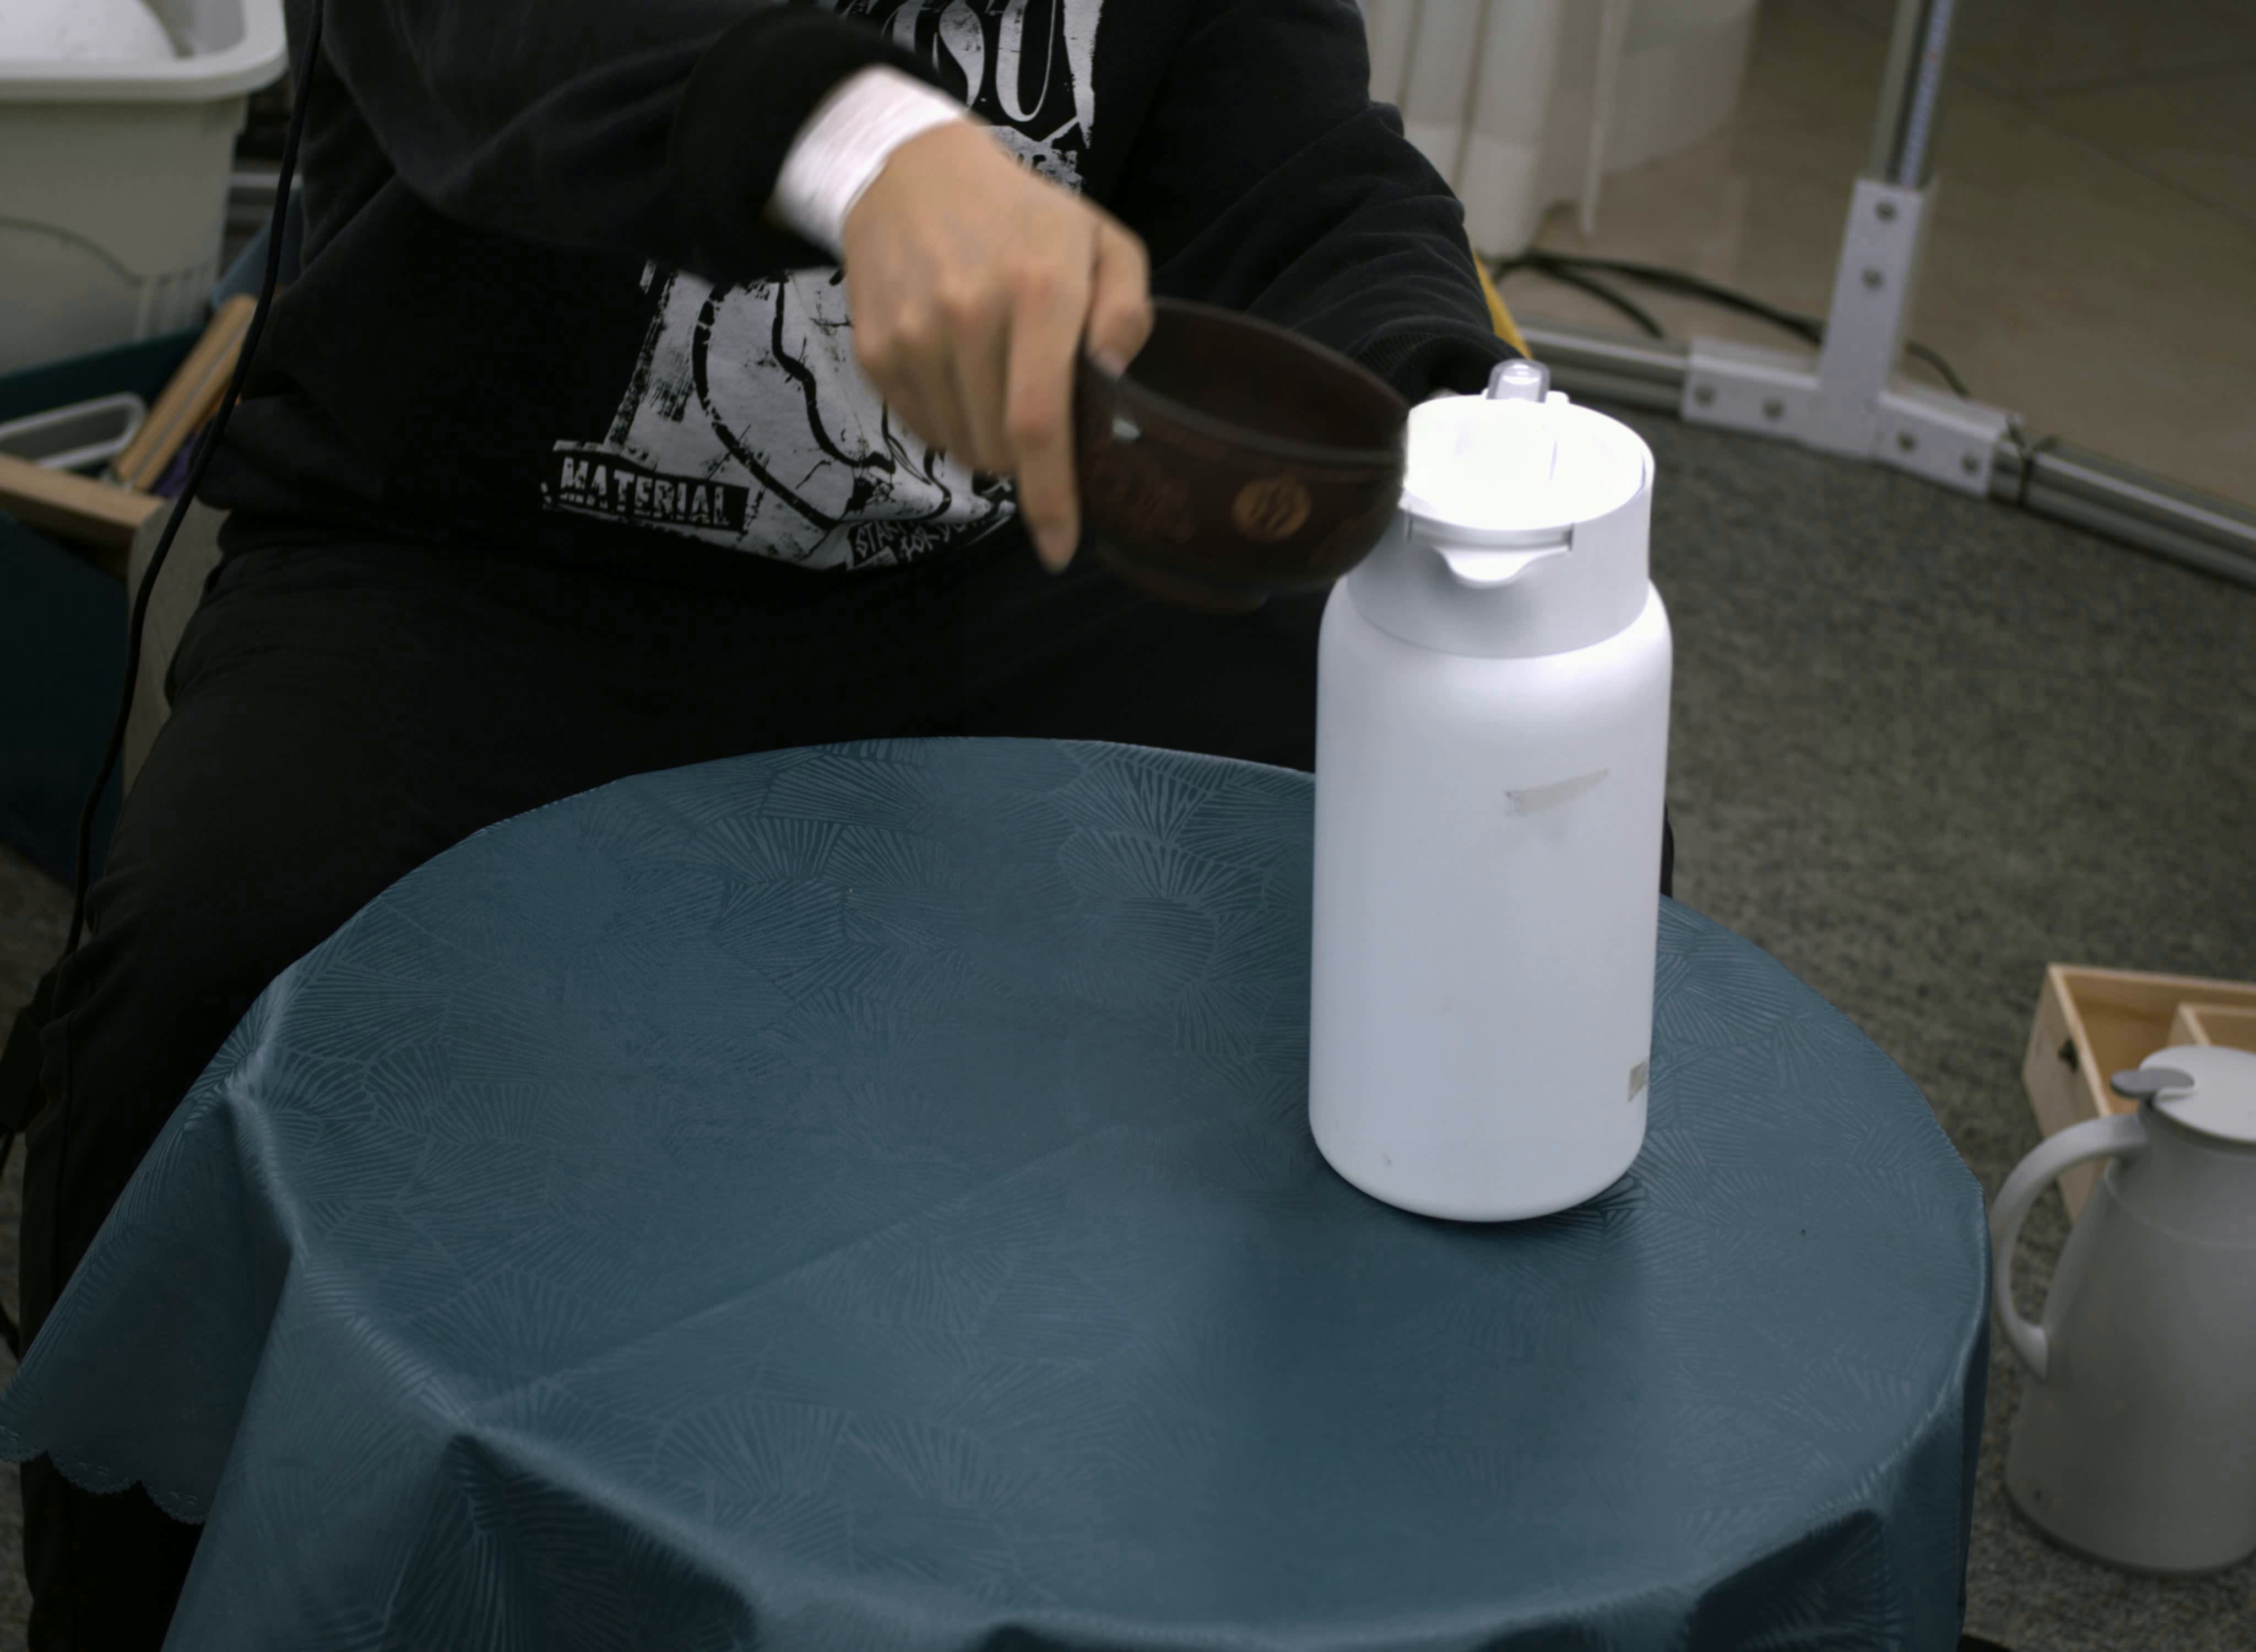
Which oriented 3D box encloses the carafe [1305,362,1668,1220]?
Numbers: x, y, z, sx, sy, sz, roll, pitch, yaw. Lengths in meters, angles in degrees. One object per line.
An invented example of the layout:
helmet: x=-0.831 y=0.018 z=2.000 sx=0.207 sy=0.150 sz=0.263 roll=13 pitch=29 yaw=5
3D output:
carafe: x=0.120 y=-0.015 z=1.799 sx=0.124 sy=0.267 sz=0.173 roll=2 pitch=30 yaw=8

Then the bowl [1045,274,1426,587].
bowl: x=0.028 y=-0.118 z=1.667 sx=0.117 sy=0.070 sz=0.118 roll=17 pitch=22 yaw=-7
